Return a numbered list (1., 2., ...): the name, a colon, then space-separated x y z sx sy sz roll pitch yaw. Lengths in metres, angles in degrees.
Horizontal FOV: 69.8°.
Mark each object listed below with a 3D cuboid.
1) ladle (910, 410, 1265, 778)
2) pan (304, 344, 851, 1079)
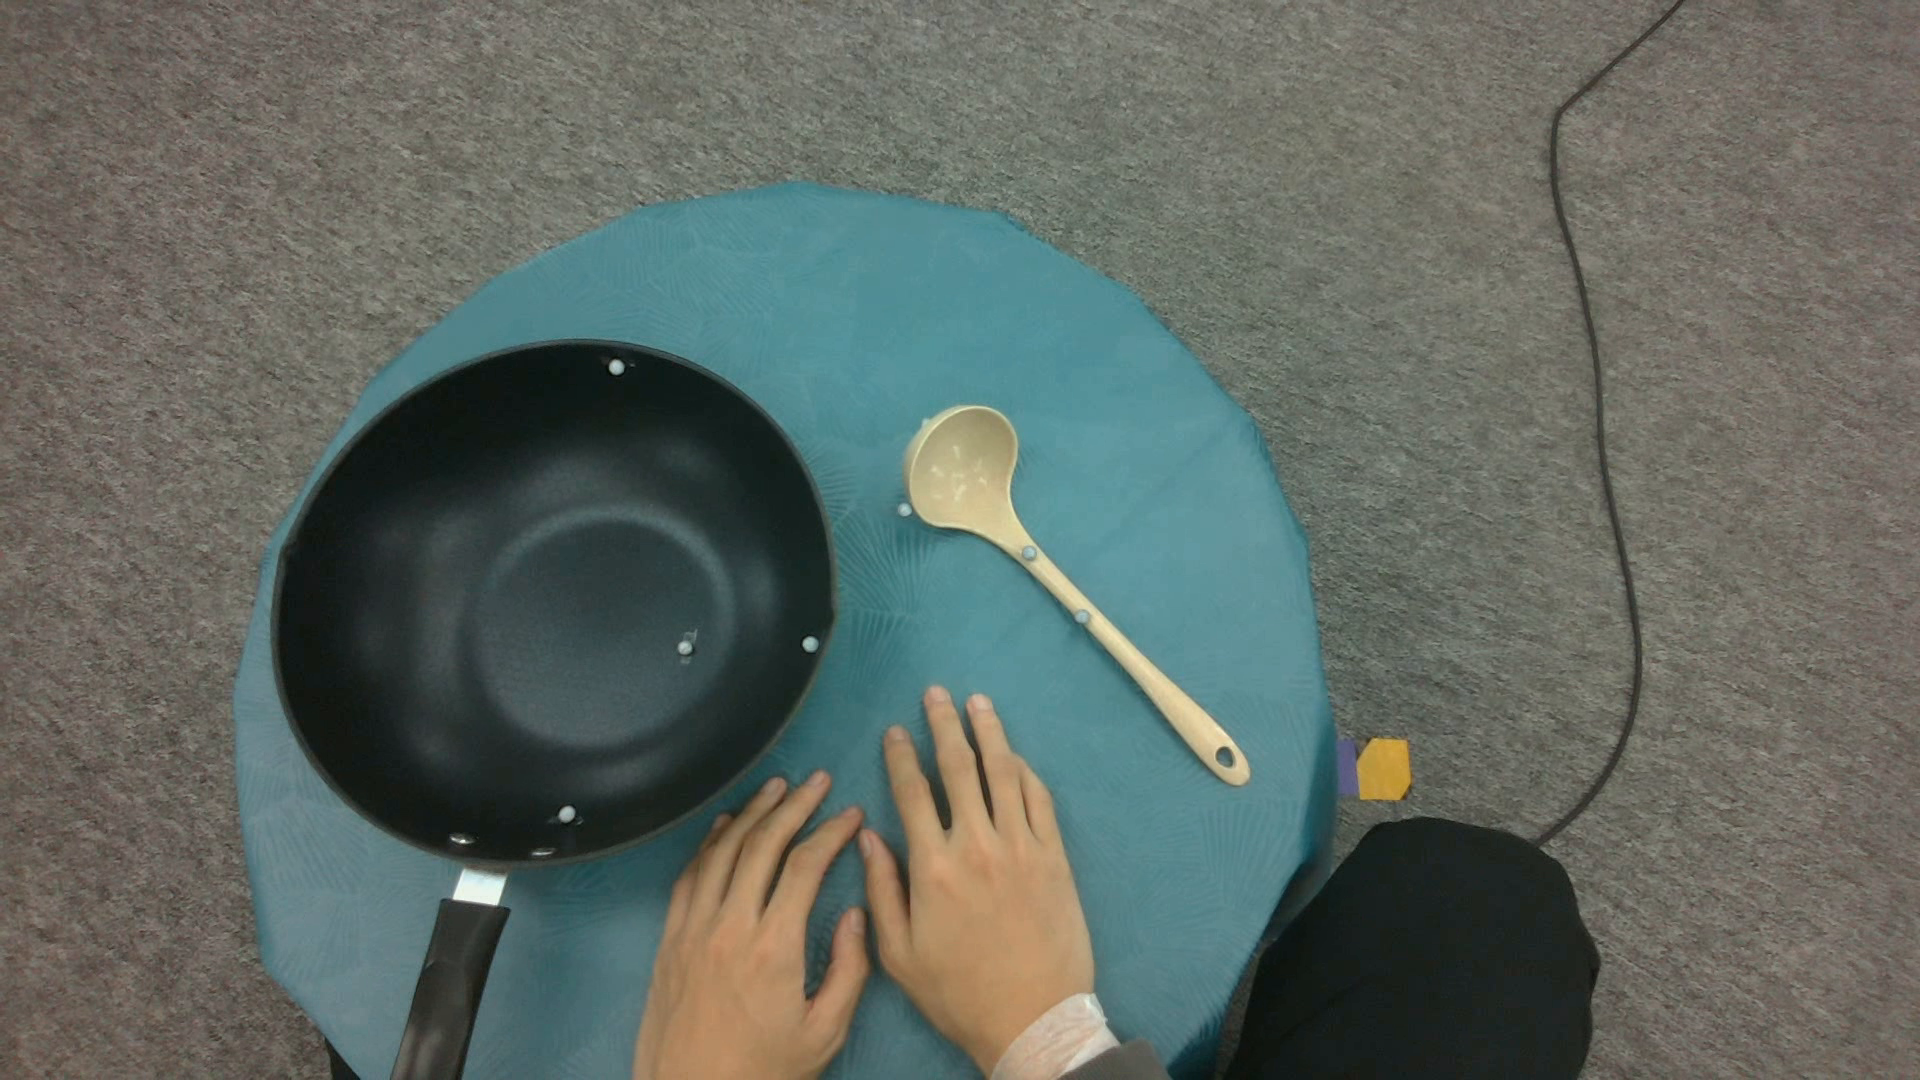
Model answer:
1. ladle: 0.073 0.028 0.743 0.072 0.072 0.254 -41 72 -14
2. pan: -0.211 0.122 0.713 0.288 0.086 0.465 8 71 5
